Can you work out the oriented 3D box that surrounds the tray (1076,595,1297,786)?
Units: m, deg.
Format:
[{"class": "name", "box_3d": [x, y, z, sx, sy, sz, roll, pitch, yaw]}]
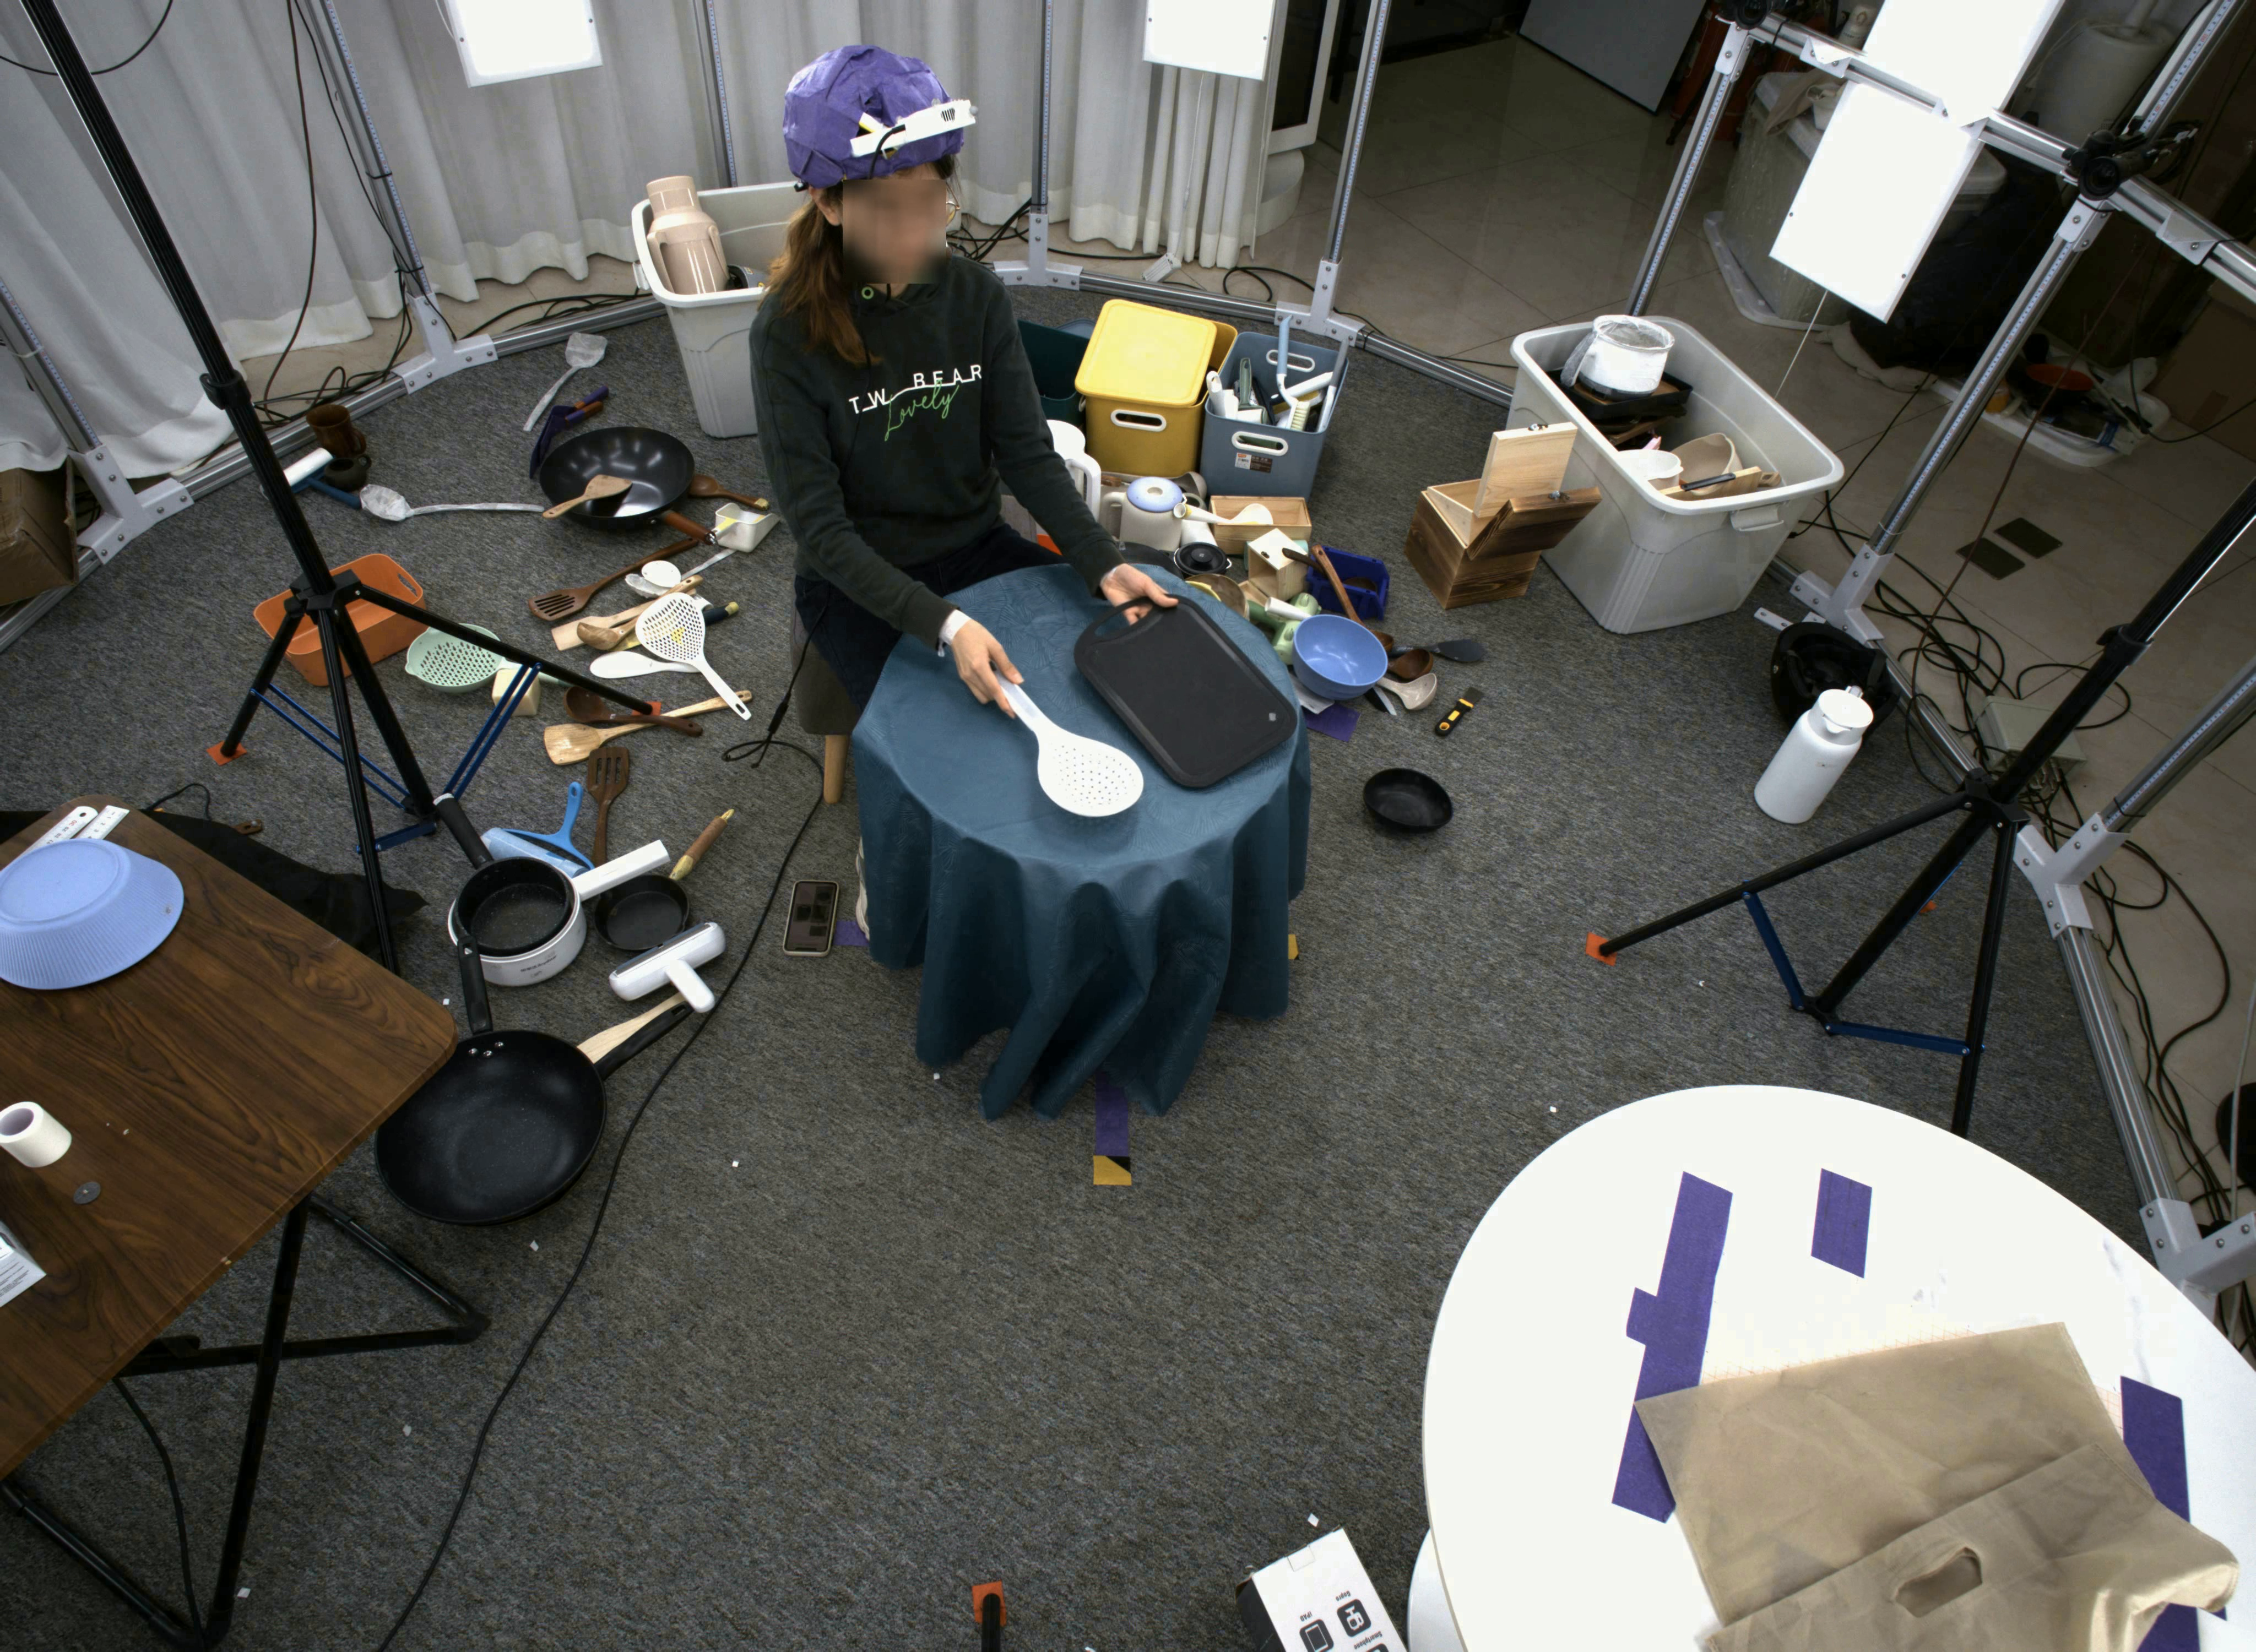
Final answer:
[{"class": "tray", "box_3d": [0.075, -0.204, 1.818, 0.212, 0.009, 0.331, -30, 62, -18]}]

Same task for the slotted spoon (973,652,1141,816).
[{"class": "slotted spoon", "box_3d": [-0.113, -0.129, 1.741, 0.136, 0.045, 0.356, -21, 57, -30]}]
